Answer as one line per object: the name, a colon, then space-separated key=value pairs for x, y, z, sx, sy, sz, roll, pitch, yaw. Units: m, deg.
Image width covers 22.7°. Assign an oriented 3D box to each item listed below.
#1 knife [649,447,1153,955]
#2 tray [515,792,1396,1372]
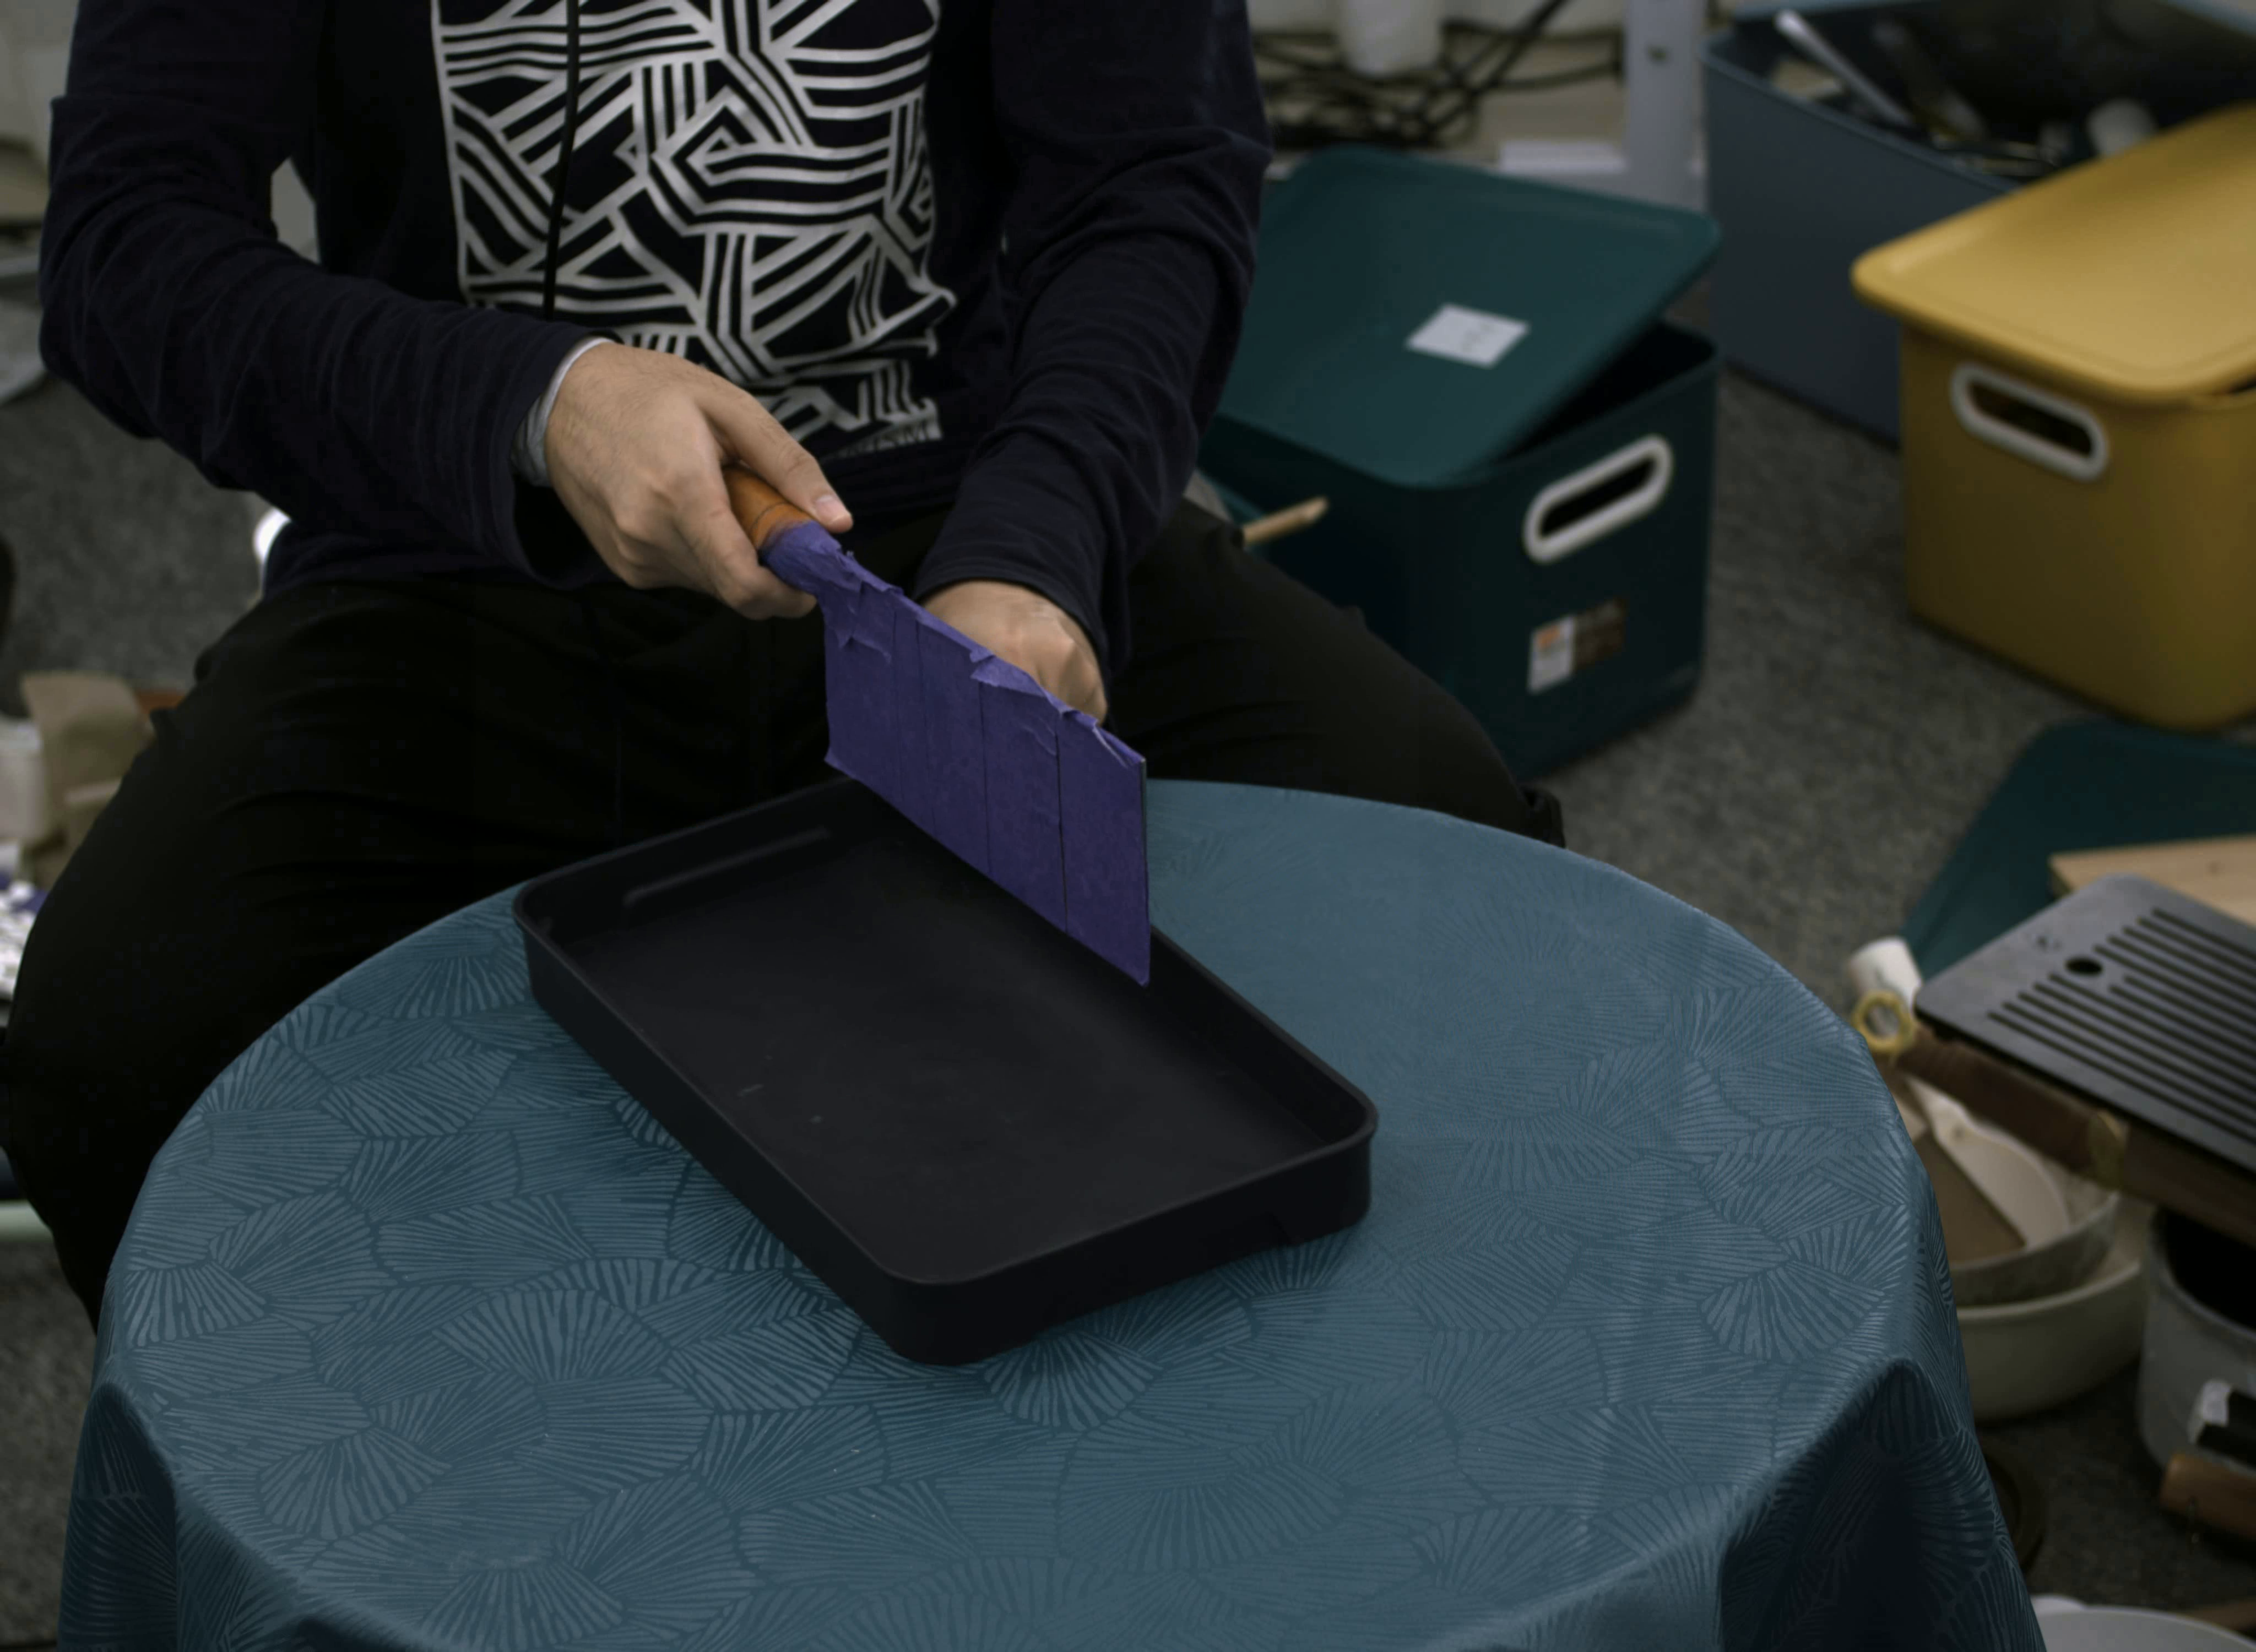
knife: x=-0.083 y=-0.044 z=1.992 sx=0.032 sy=0.103 sz=0.316 roll=-15 pitch=29 yaw=-29
tray: x=-0.063 y=0.078 z=1.912 sx=0.185 sy=0.036 sz=0.319 roll=-19 pitch=31 yaw=-26
